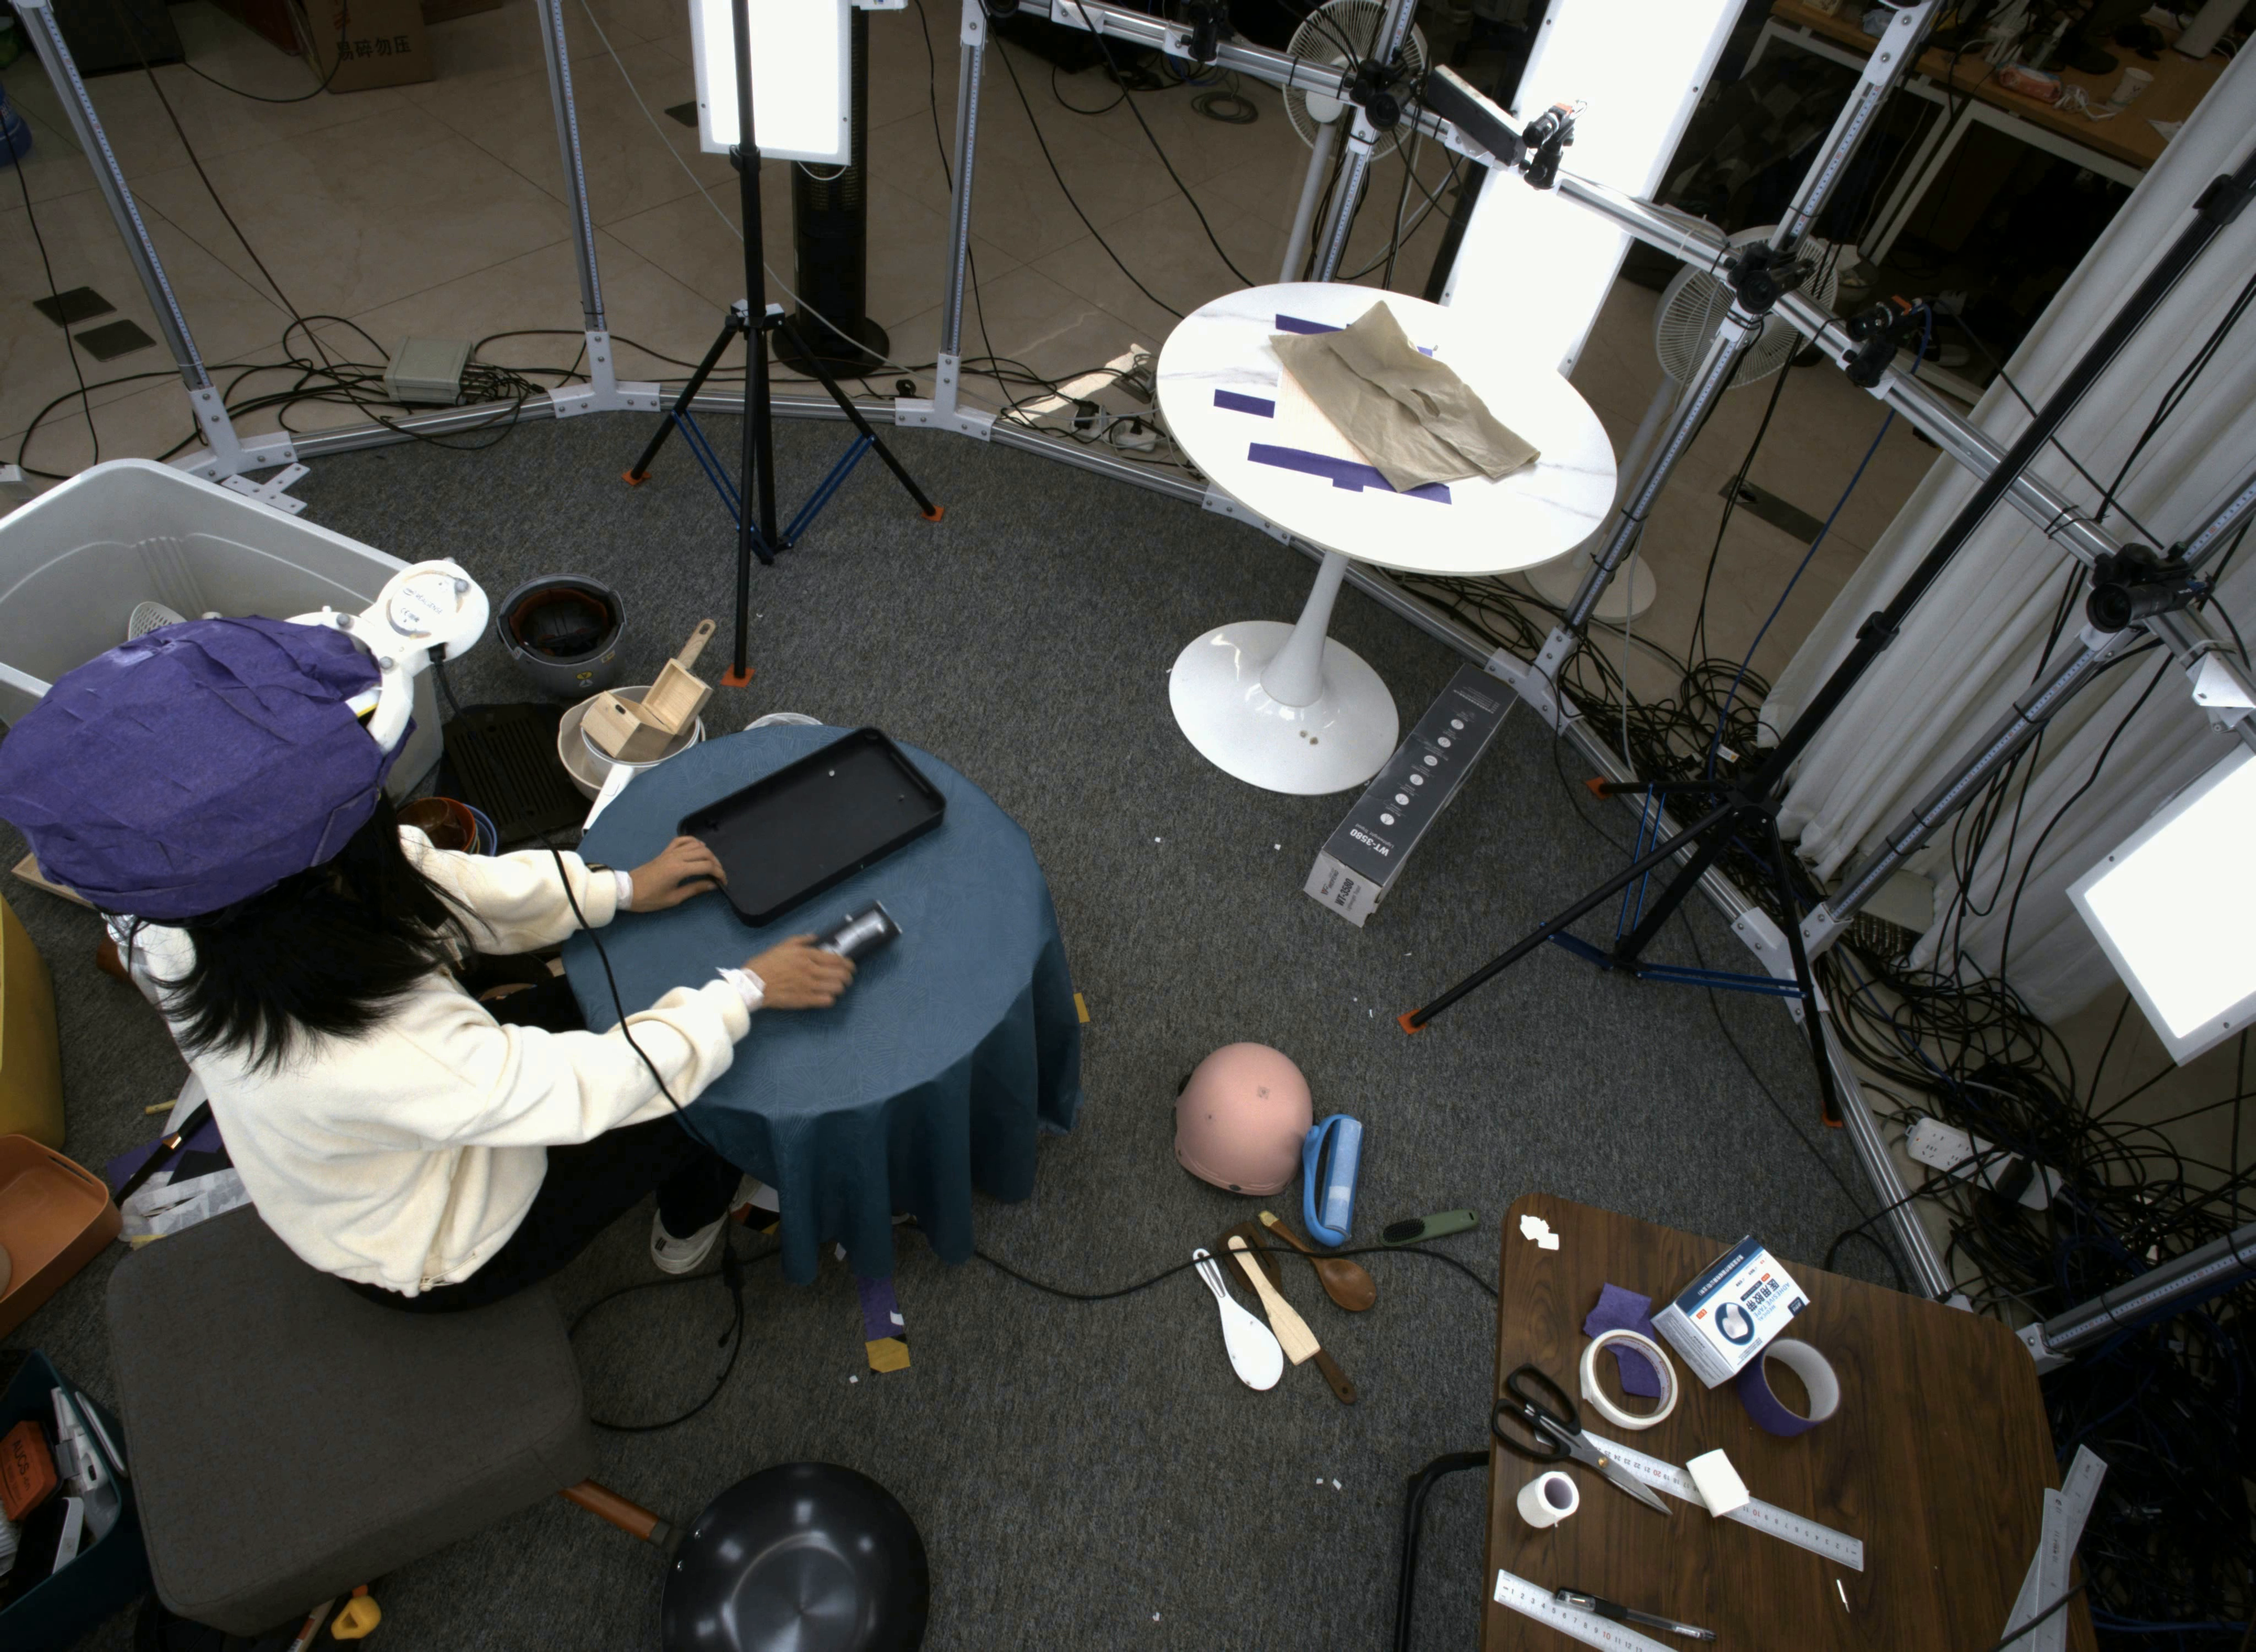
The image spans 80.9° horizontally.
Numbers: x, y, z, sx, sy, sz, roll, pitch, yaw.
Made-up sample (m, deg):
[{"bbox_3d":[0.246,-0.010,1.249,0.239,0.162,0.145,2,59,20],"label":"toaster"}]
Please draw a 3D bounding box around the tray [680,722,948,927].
[{"bbox_3d":[-0.408,-0.010,1.706,0.319,0.038,0.180,-34,67,-32],"label":"tray"}]

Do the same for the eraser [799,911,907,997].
[{"bbox_3d":[-0.336,0.154,1.592,0.126,0.031,0.052,-31,69,-31],"label":"eraser"}]
